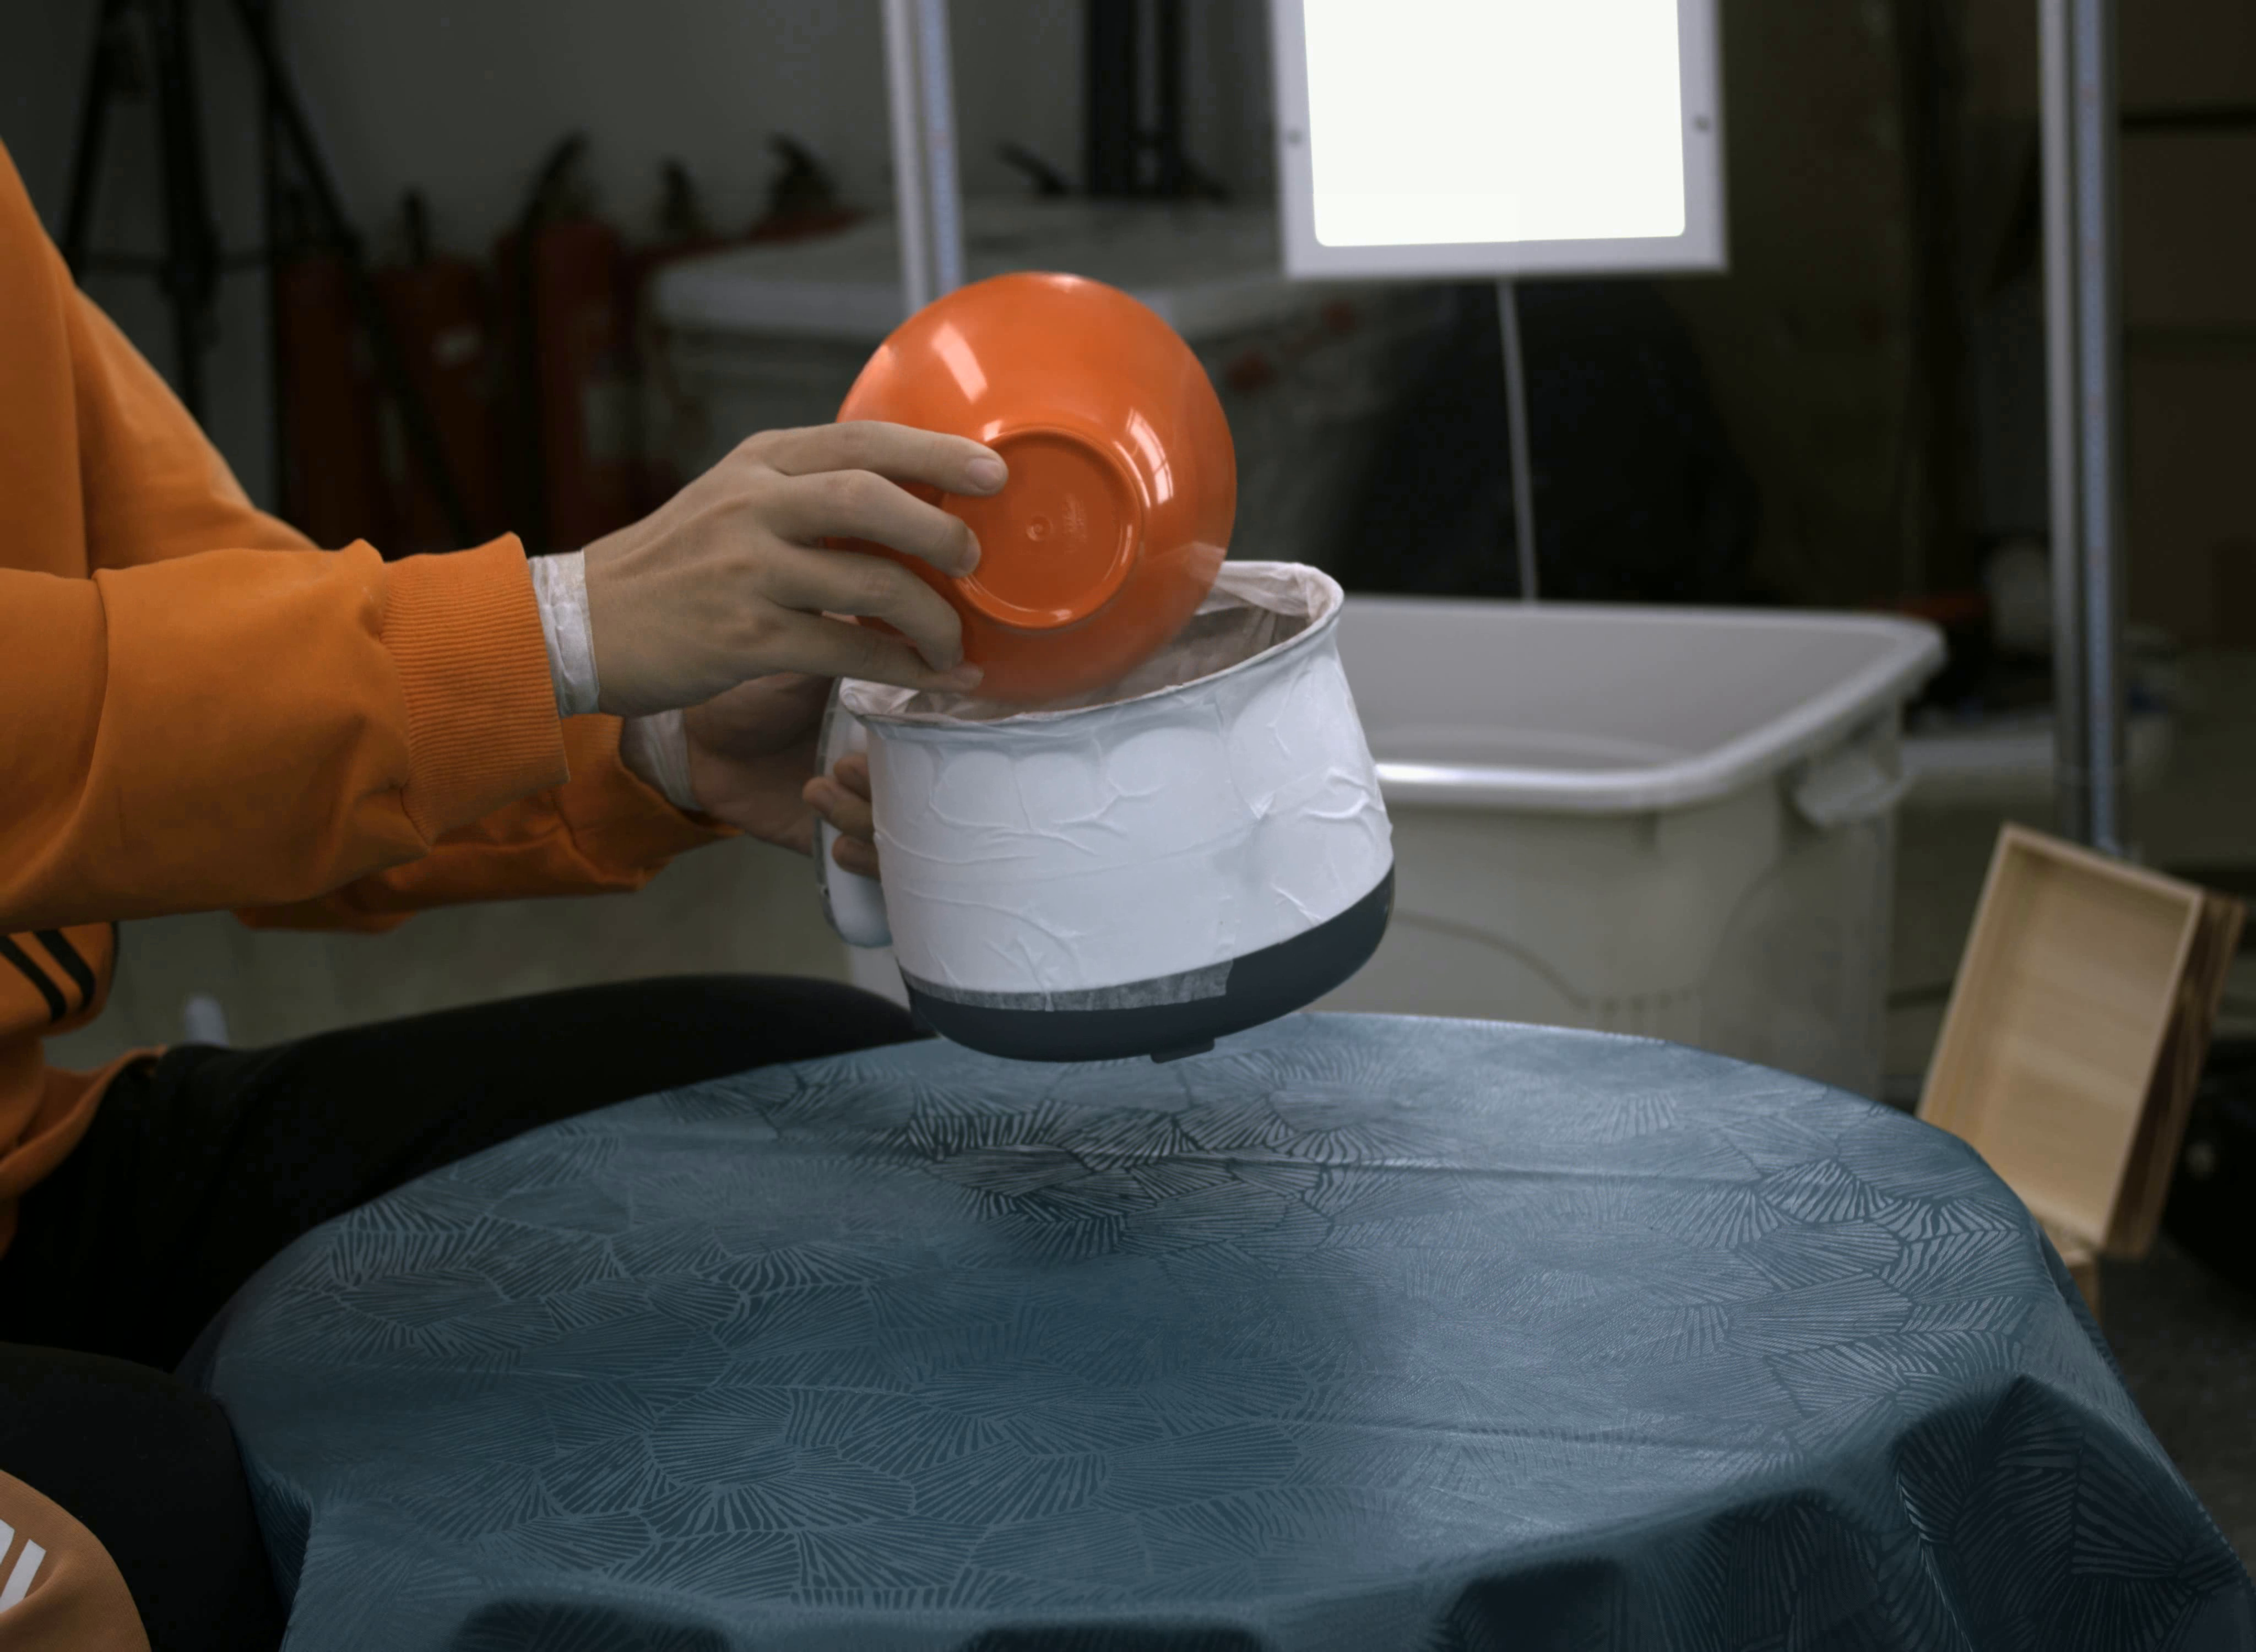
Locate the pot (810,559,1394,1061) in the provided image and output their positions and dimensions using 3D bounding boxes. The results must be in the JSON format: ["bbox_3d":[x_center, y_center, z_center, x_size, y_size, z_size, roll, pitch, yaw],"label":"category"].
[{"bbox_3d":[-0.023,-0.006,1.917,0.239,0.137,0.174,2,21,40],"label":"pot"}]

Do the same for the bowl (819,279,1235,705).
[{"bbox_3d":[-0.026,-0.106,1.827,0.146,0.148,0.105,-6,10,-8],"label":"bowl"}]
